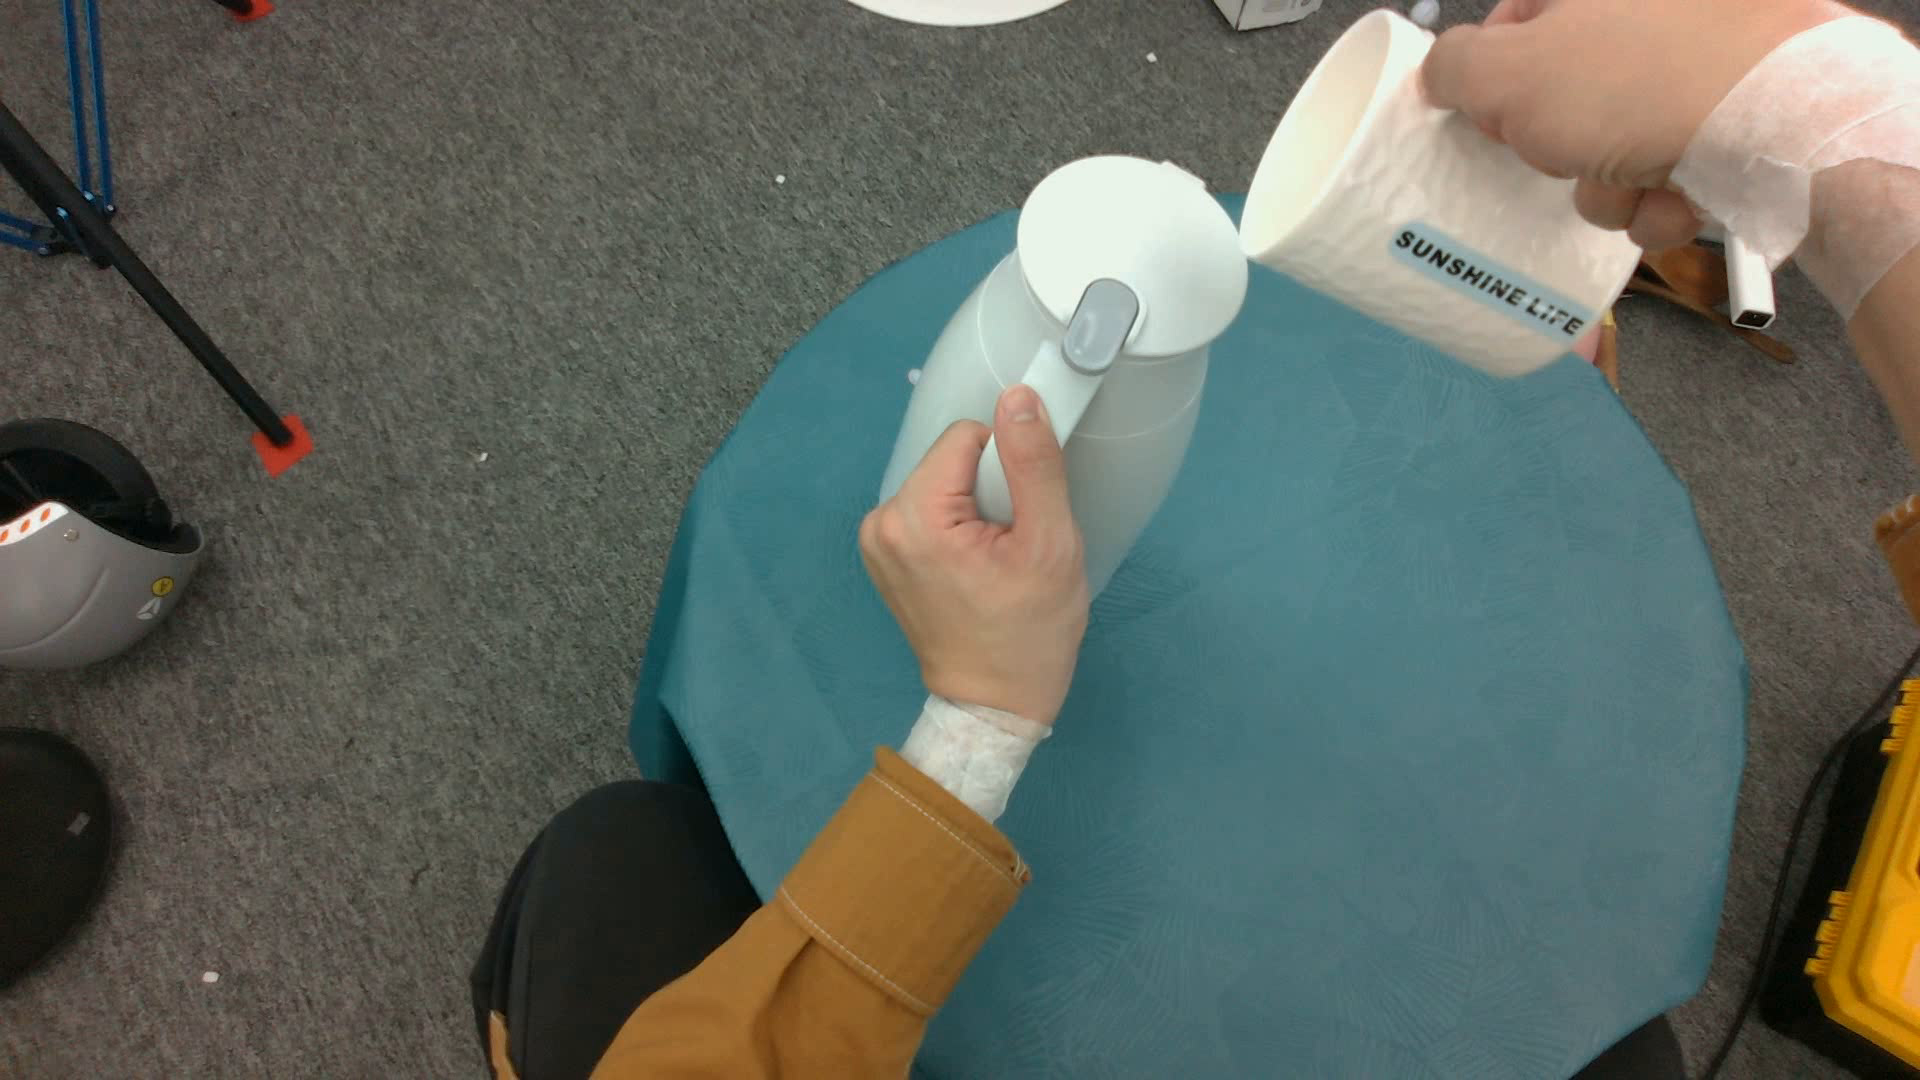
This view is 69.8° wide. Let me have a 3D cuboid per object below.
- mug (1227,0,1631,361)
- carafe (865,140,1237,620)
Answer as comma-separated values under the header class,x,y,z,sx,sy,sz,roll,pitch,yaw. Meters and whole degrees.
class,x,y,z,sx,sy,sz,roll,pitch,yaw
mug,0.160,-0.119,0.446,0.102,0.118,0.085,24,76,-12
carafe,0.032,-0.053,0.619,0.132,0.247,0.168,28,63,0
